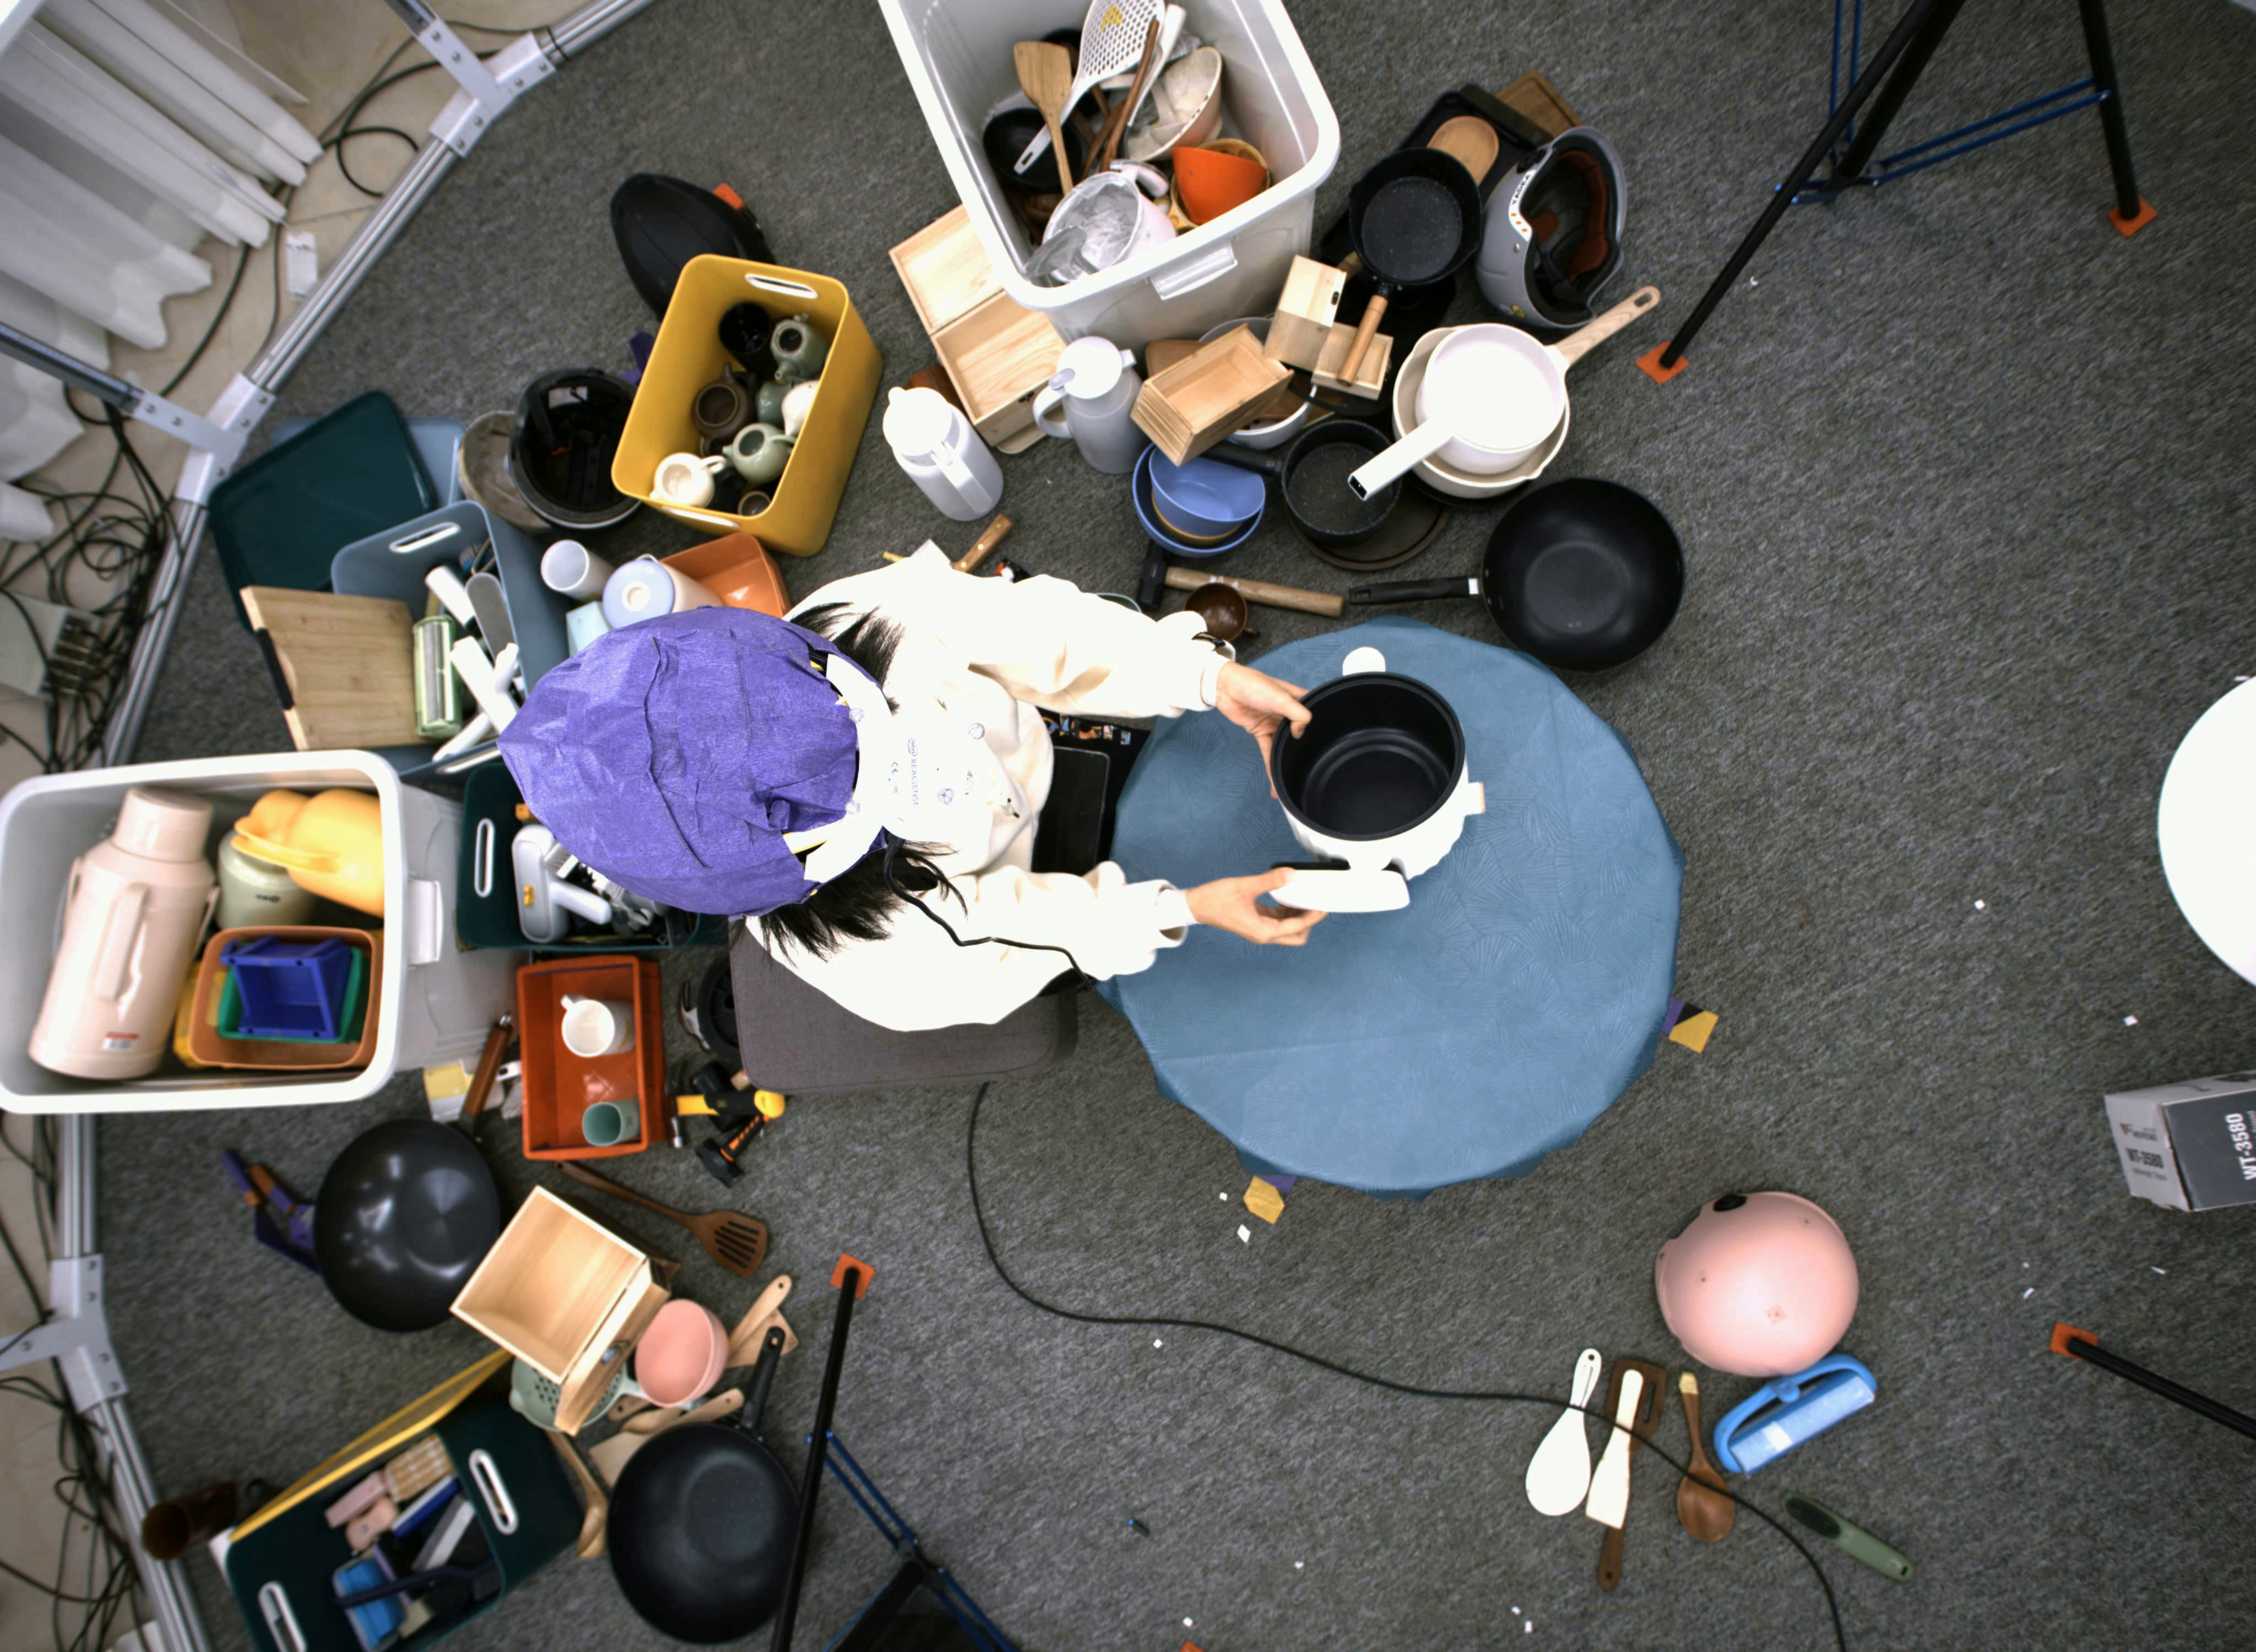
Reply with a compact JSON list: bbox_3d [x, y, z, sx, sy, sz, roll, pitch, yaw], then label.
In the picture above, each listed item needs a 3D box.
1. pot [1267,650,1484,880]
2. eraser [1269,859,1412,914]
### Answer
[{"bbox_3d":[0.241,-0.040,1.329,0.192,0.144,0.235,-7,64,19],"label":"pot"},{"bbox_3d":[0.200,0.057,1.304,0.132,0.064,0.034,-2,64,23],"label":"eraser"}]
